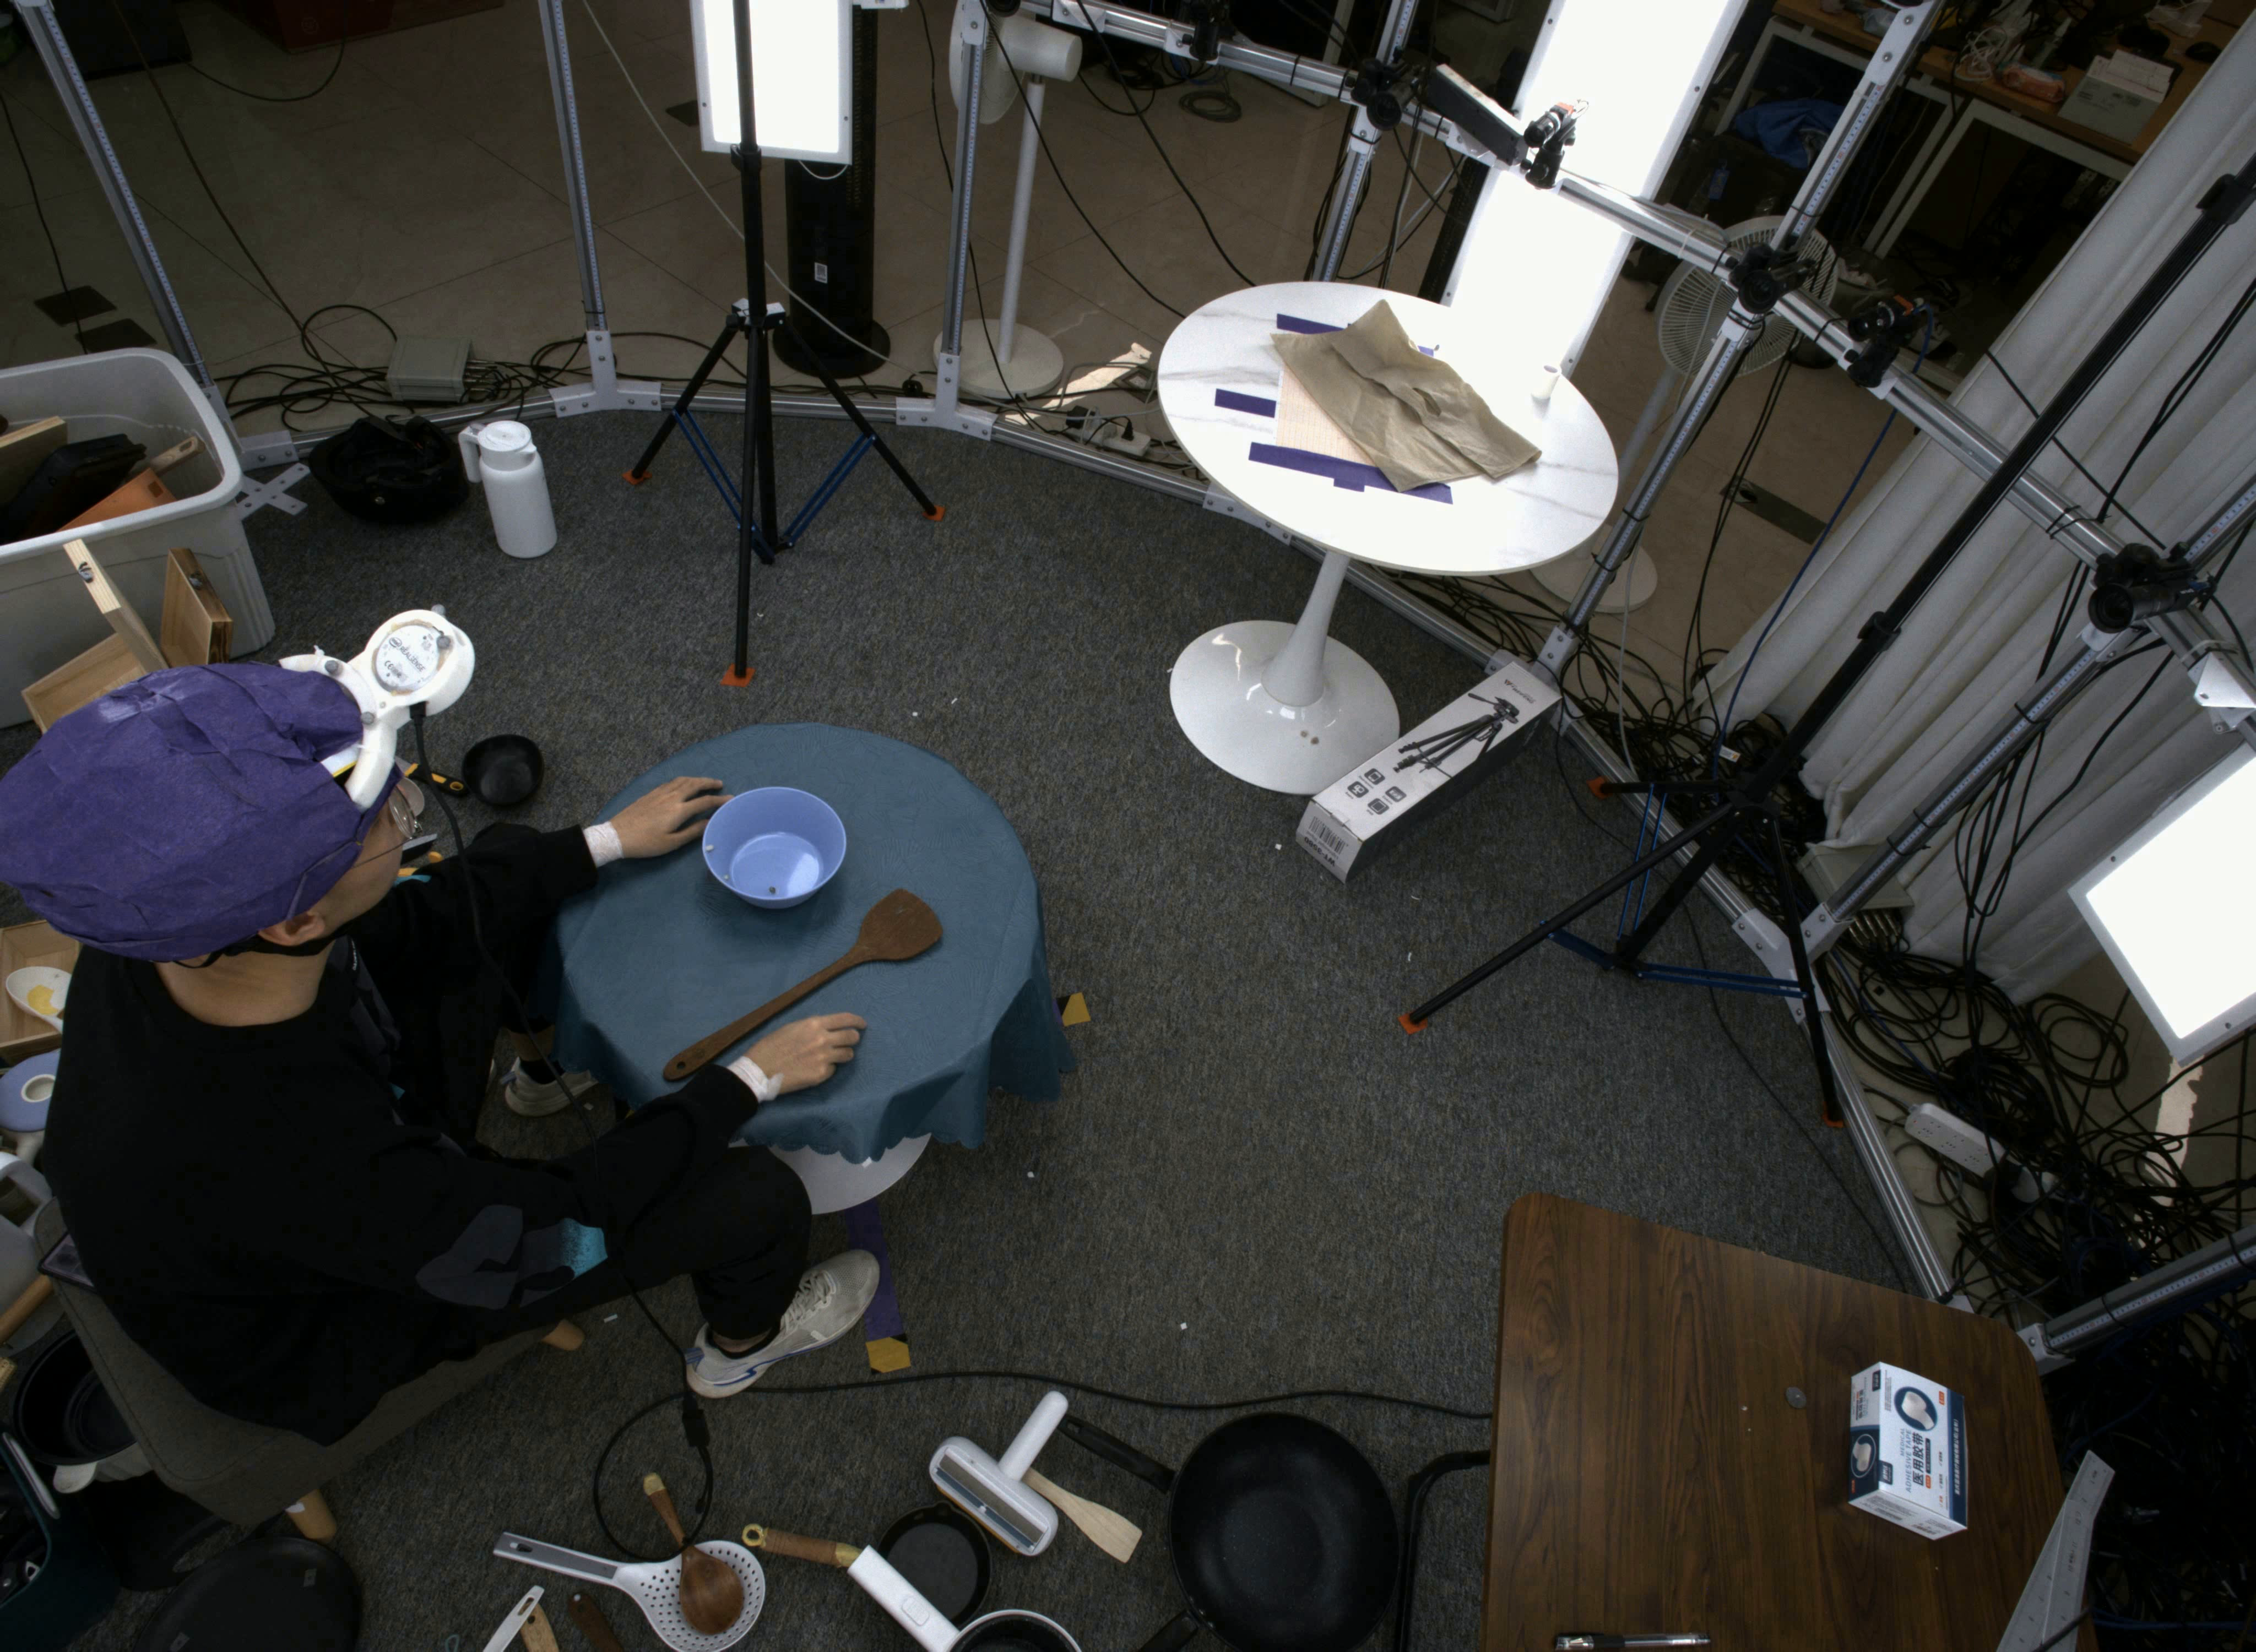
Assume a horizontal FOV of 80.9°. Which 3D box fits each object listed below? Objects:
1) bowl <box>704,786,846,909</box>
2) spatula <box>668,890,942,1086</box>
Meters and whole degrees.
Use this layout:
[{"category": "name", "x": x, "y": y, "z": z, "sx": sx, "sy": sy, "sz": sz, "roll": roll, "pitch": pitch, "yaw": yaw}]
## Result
[{"category": "bowl", "x": -0.447, "y": 0.037, "z": 1.651, "sx": 0.175, "sy": 0.072, "sz": 0.173, "roll": 7, "pitch": 53, "yaw": -7}, {"category": "spatula", "x": -0.394, "y": 0.197, "z": 1.581, "sx": 0.387, "sy": 0.016, "sz": 0.094, "roll": -34, "pitch": 67, "yaw": -32}]
